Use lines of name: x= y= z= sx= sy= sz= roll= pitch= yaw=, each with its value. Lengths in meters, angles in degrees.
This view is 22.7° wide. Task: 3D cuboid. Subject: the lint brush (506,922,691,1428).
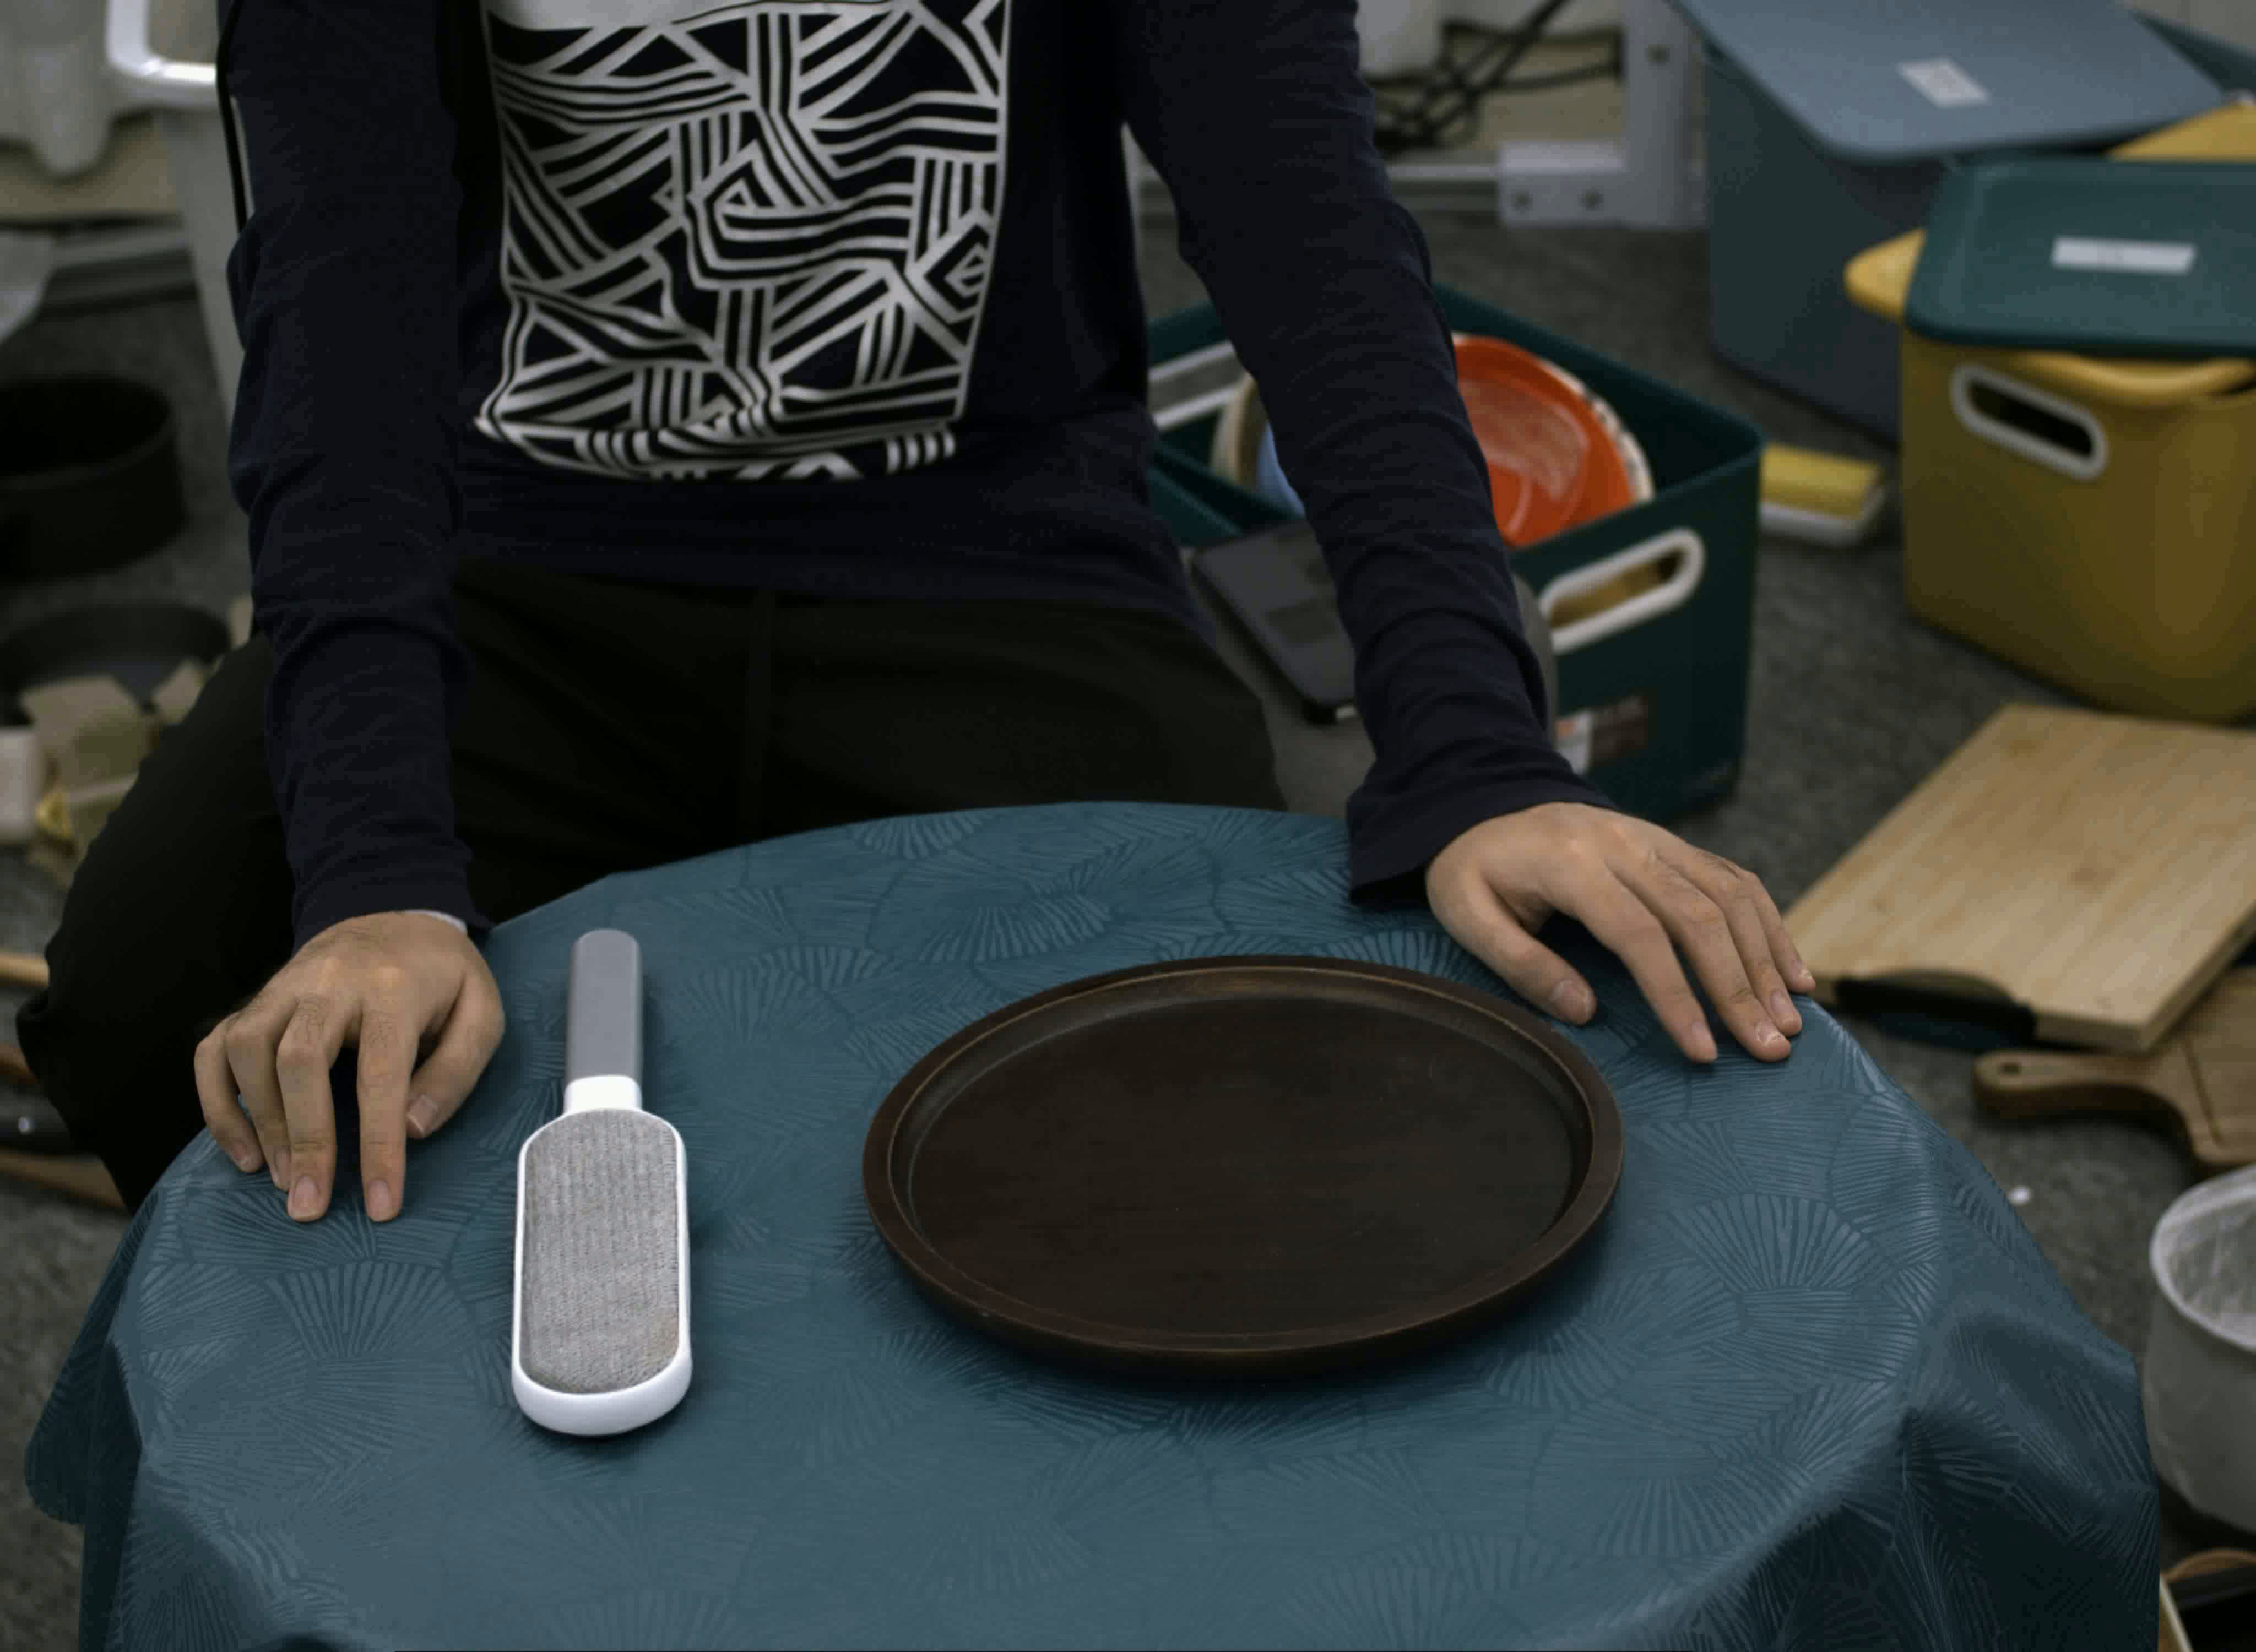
lint brush: x=-0.174 y=0.111 z=1.870 sx=0.060 sy=0.021 sz=0.313 roll=-9 pitch=27 yaw=0

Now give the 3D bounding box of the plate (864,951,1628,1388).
plate: x=0.038 y=0.111 z=1.851 sx=0.253 sy=0.029 sz=0.259 roll=-1 pitch=27 yaw=1
